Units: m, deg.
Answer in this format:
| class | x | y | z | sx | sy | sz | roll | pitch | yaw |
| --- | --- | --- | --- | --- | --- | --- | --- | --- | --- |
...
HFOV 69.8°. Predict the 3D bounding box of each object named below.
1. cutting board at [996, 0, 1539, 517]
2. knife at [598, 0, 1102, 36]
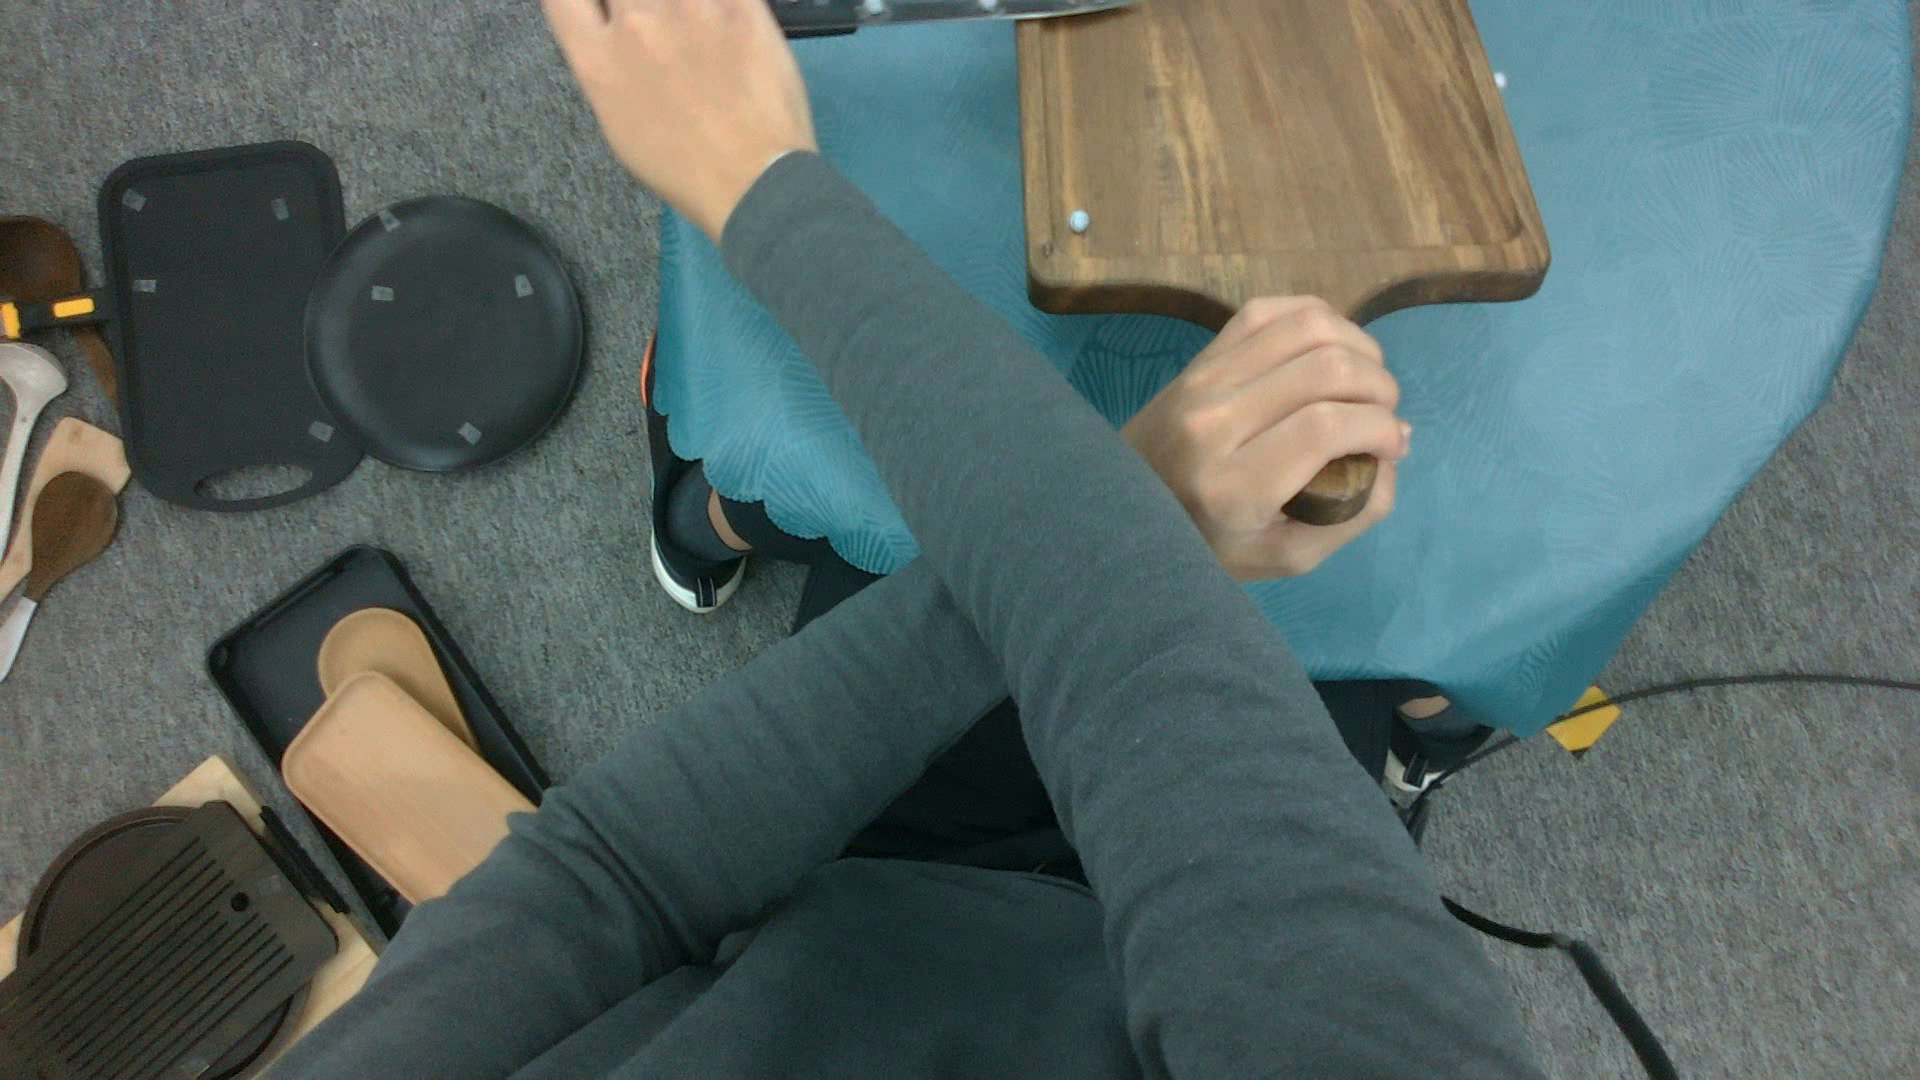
| class | x | y | z | sx | sy | sz | roll | pitch | yaw |
| --- | --- | --- | --- | --- | --- | --- | --- | --- | --- |
| cutting board | 0.118 | -0.159 | 0.564 | 0.201 | 0.023 | 0.353 | -2 | 56 | 0 |
| knife | -0.037 | -0.234 | 0.602 | 0.238 | 0.016 | 0.024 | -5 | 55 | -6 |
